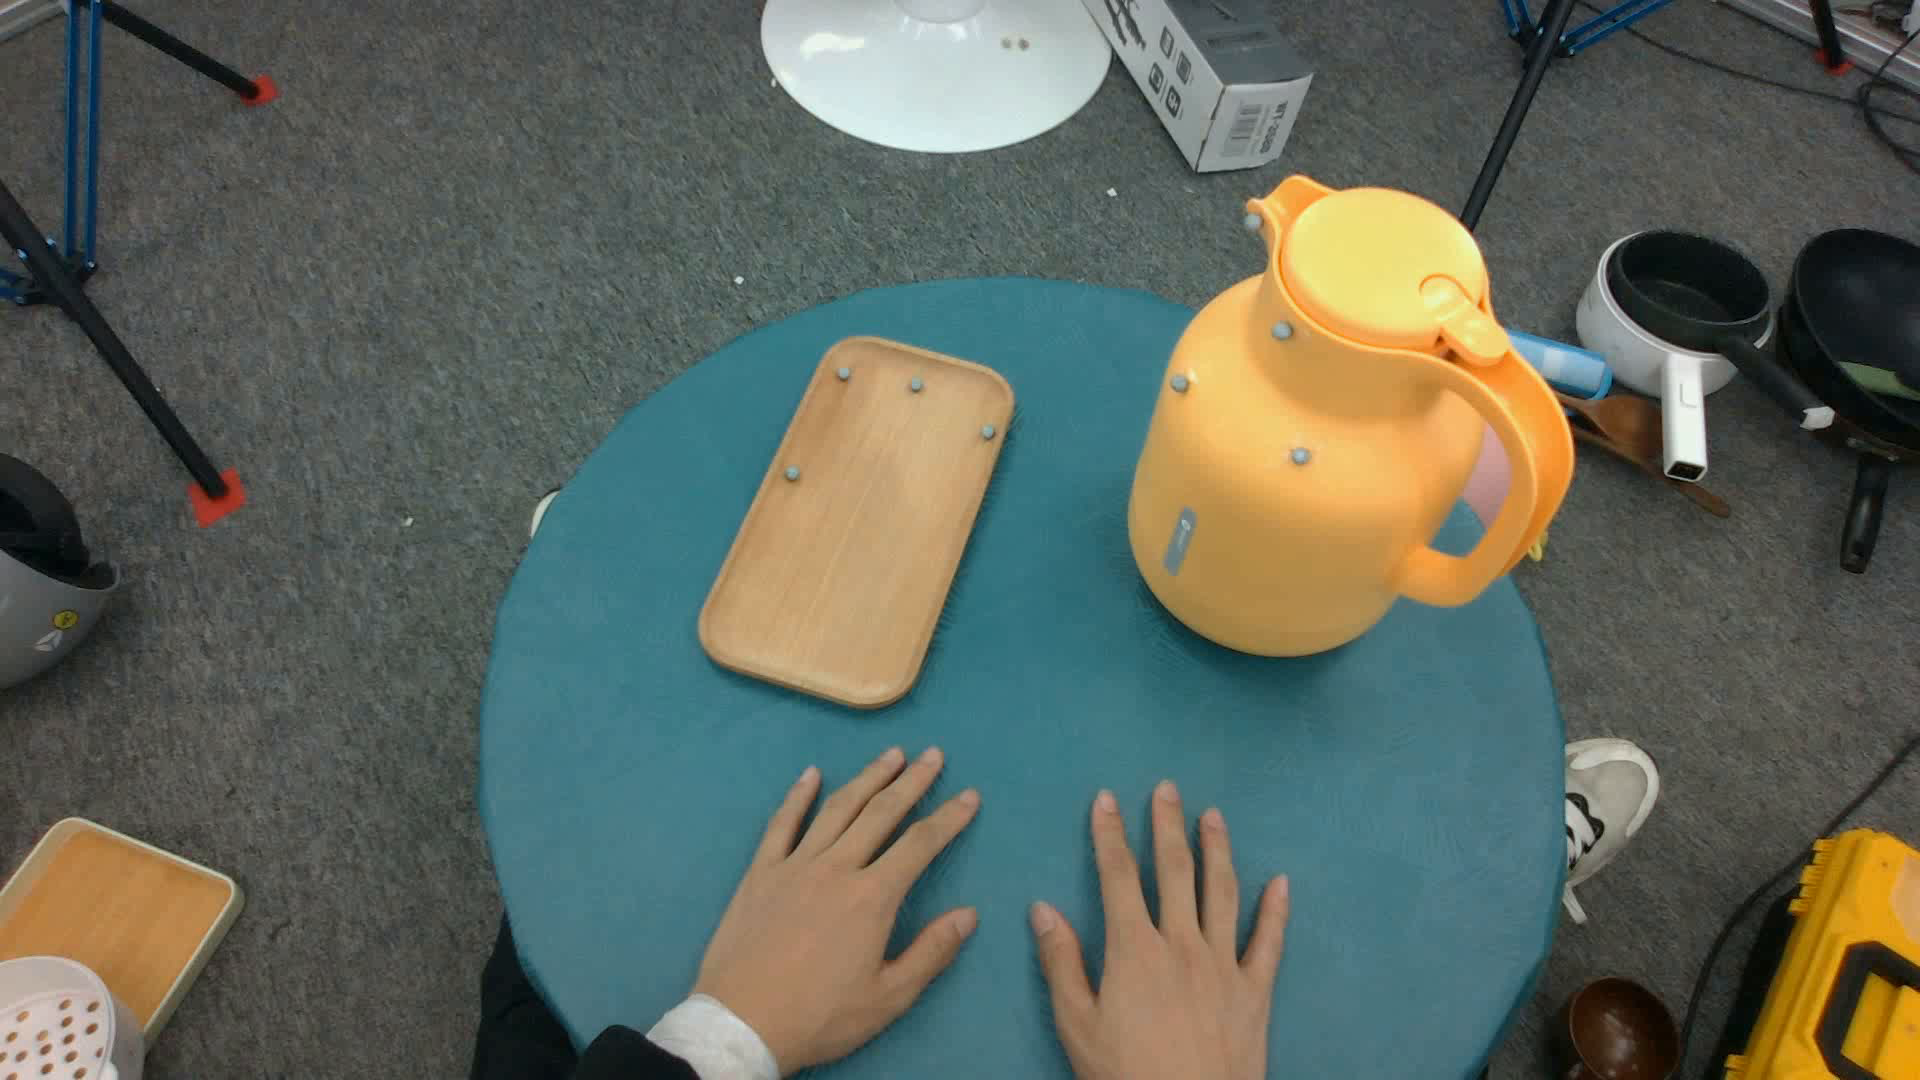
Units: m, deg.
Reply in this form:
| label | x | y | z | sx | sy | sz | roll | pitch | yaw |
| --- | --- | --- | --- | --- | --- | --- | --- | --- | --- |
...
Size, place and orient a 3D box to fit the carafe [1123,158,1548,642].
| label | x | y | z | sx | sy | sz | roll | pitch | yaw |
| --- | --- | --- | --- | --- | --- | --- | --- | --- | --- |
| carafe | 0.187 | -0.054 | 0.705 | 0.164 | 0.259 | 0.202 | -31 | 62 | -18 |

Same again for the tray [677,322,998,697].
| label | x | y | z | sx | sy | sz | roll | pitch | yaw |
| --- | --- | --- | --- | --- | --- | --- | --- | --- | --- |
| tray | -0.066 | -0.025 | 0.814 | 0.130 | 0.023 | 0.252 | 15 | 58 | 8 |
